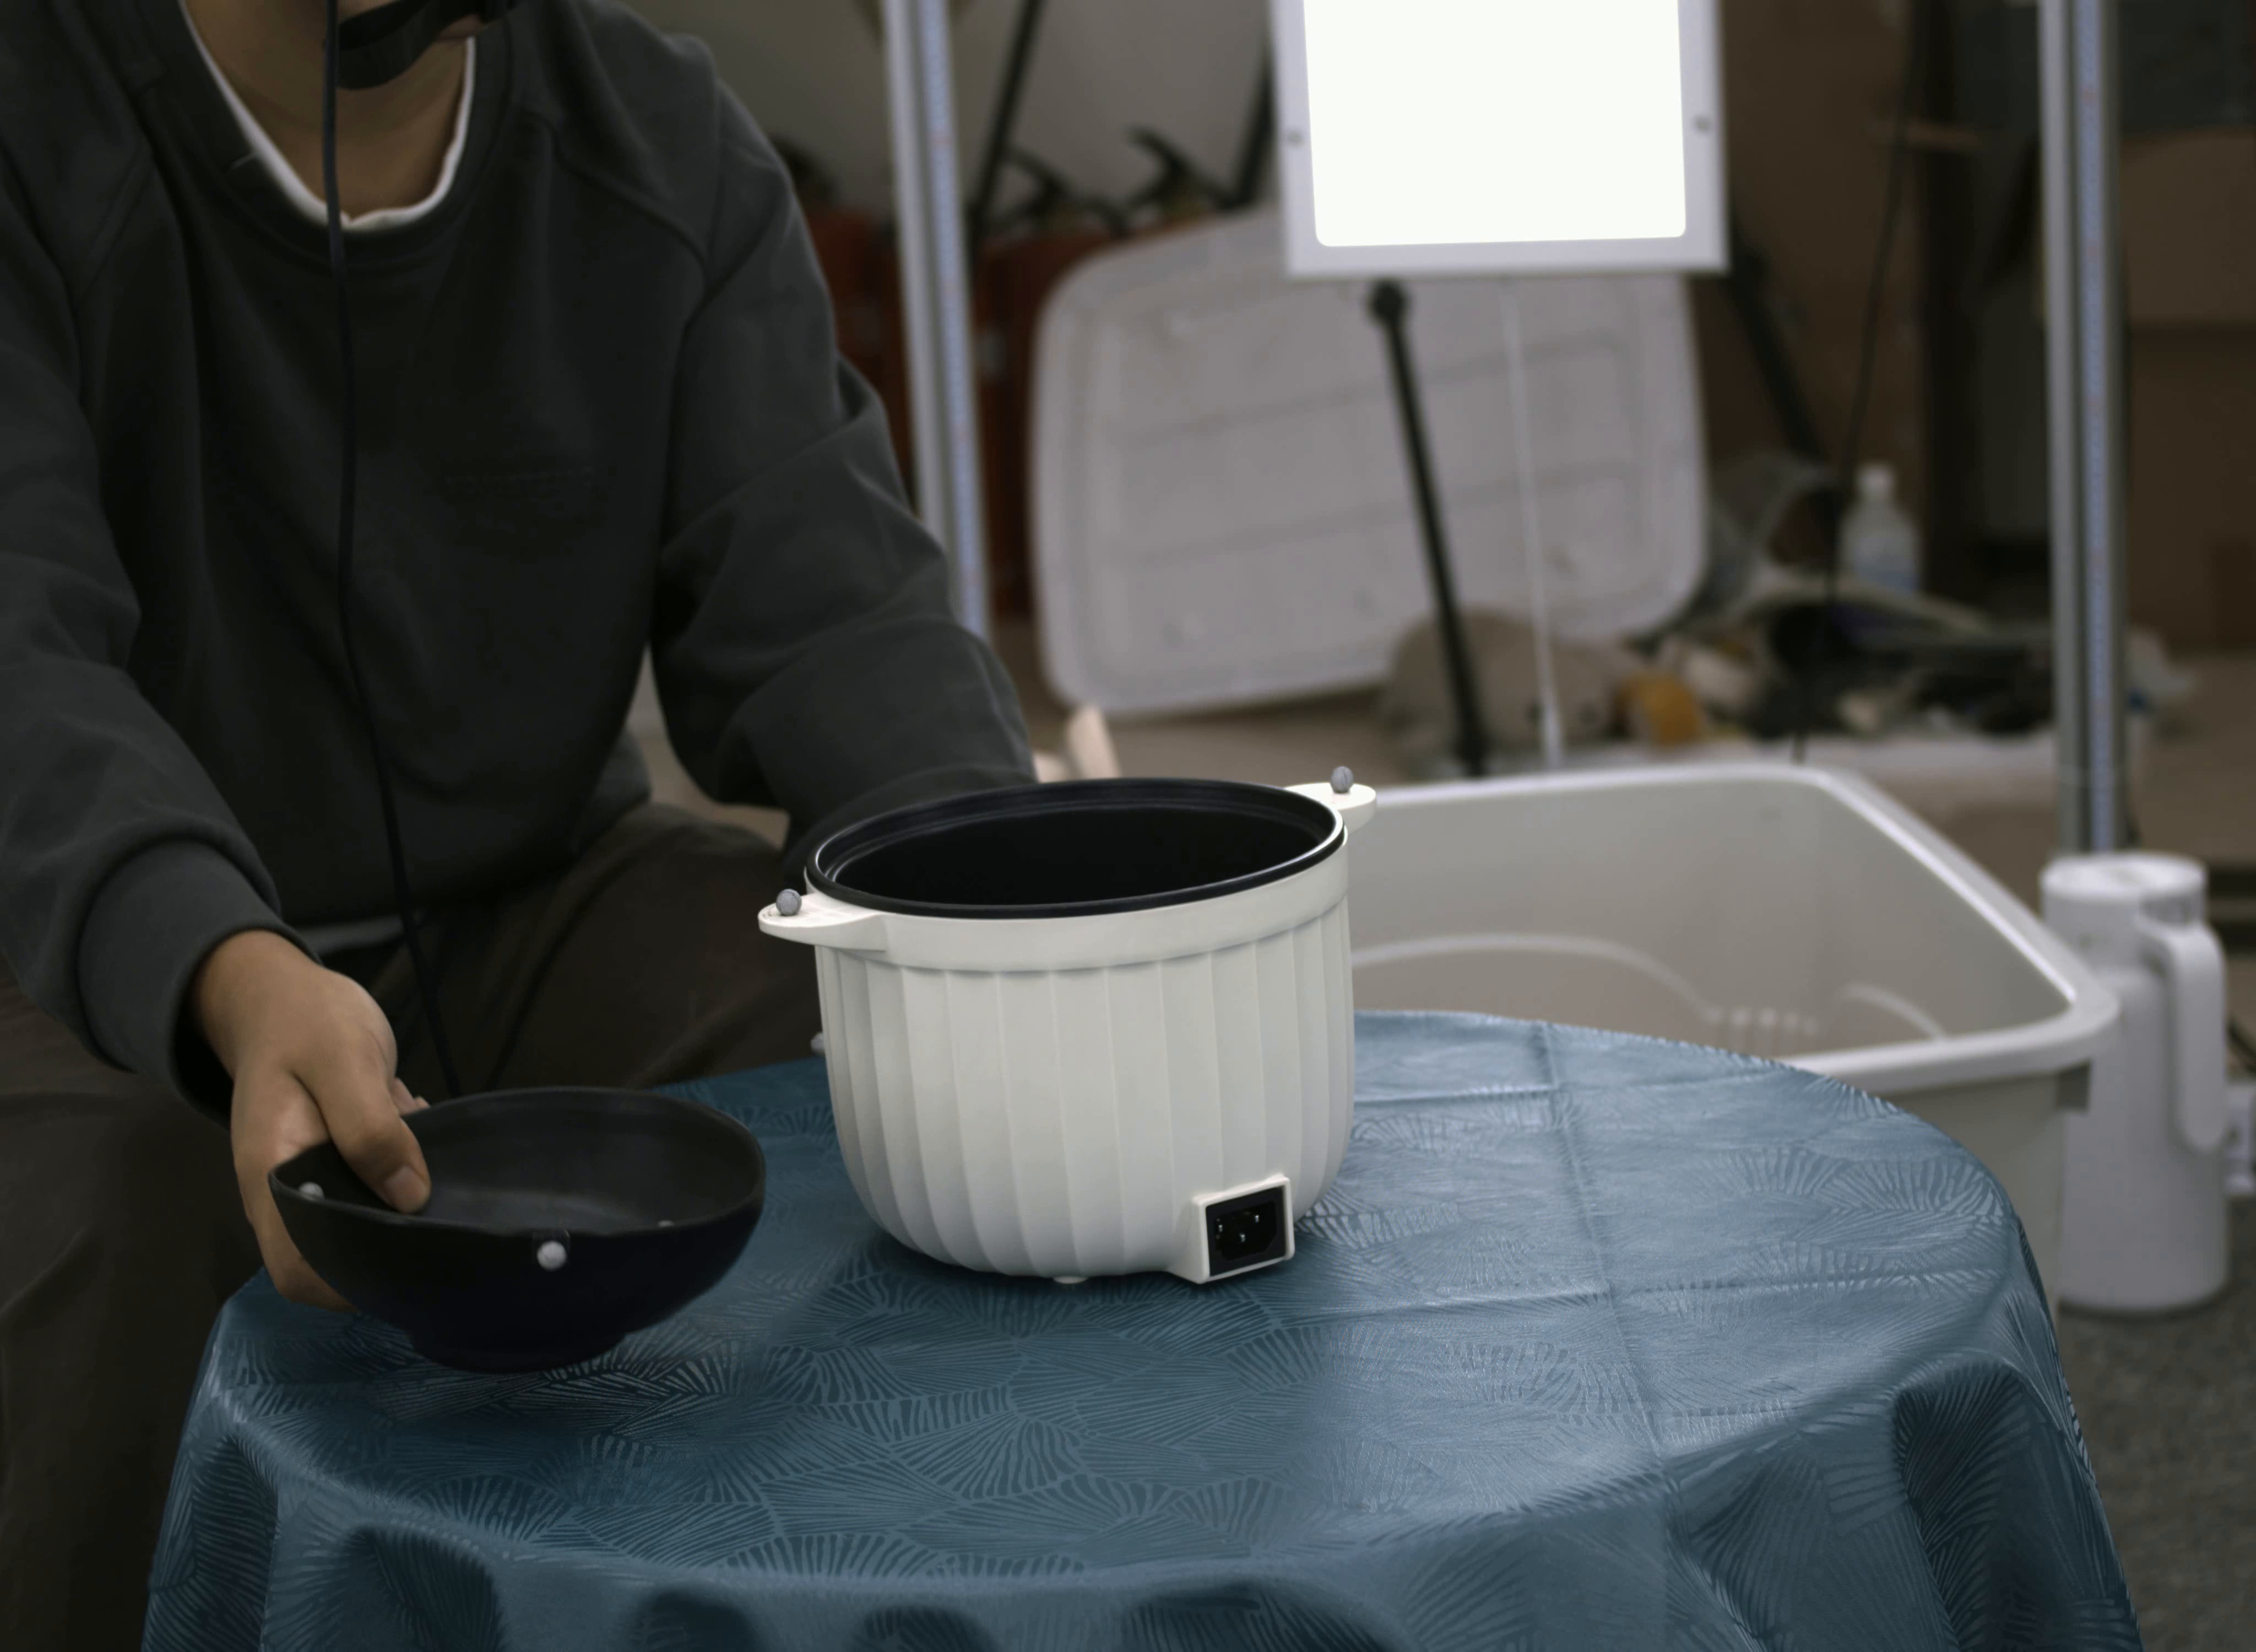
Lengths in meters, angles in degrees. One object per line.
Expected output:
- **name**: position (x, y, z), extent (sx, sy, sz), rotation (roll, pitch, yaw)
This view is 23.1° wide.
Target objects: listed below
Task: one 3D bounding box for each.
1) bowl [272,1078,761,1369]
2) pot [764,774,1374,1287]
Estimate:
- **bowl**: position (-0.192, 0.130, 1.737), extent (0.173, 0.067, 0.134), rotation (6, 18, 33)
- **pot**: position (-0.017, 0.068, 1.851), extent (0.235, 0.143, 0.194), rotation (-12, 18, -32)
